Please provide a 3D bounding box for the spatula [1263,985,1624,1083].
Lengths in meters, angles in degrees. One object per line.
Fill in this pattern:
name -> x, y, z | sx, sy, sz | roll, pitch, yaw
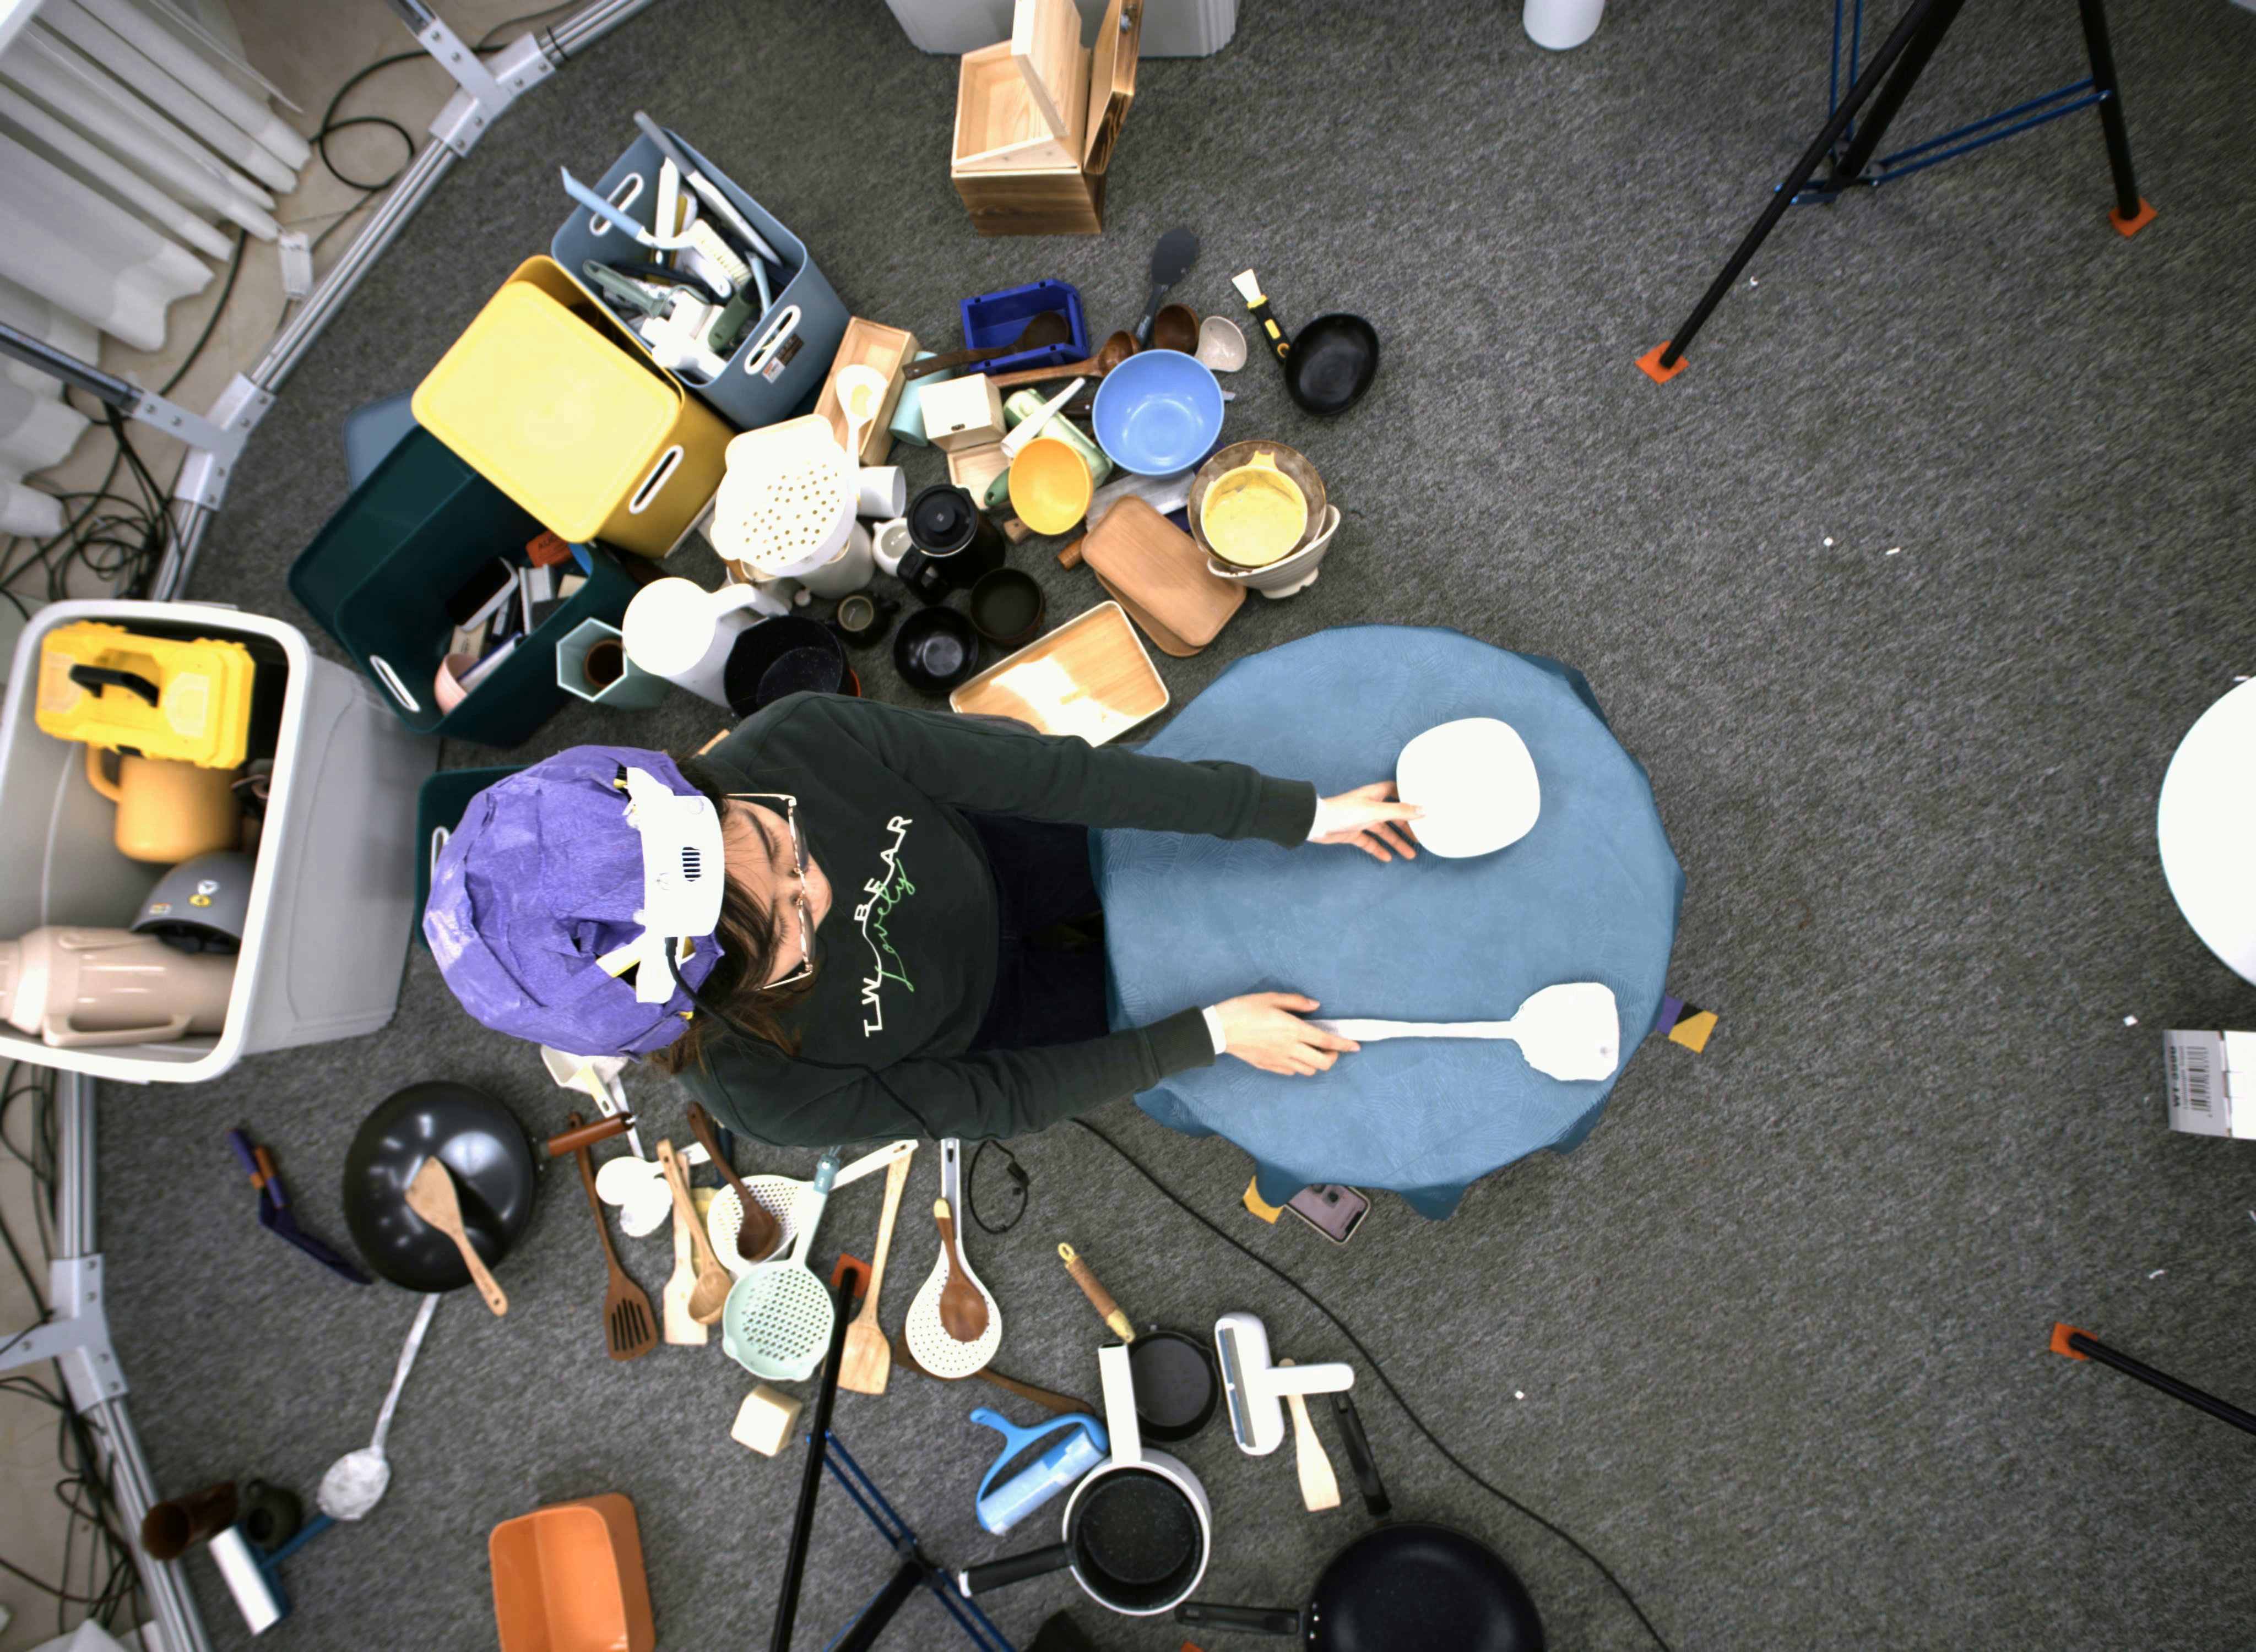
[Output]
spatula -> 0.320, 0.207, 1.427 | 0.366, 0.045, 0.098 | 0, 87, 10

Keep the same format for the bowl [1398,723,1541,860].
bowl -> 0.352, -0.033, 1.429 | 0.152, 0.059, 0.150 | -2, 82, 10
